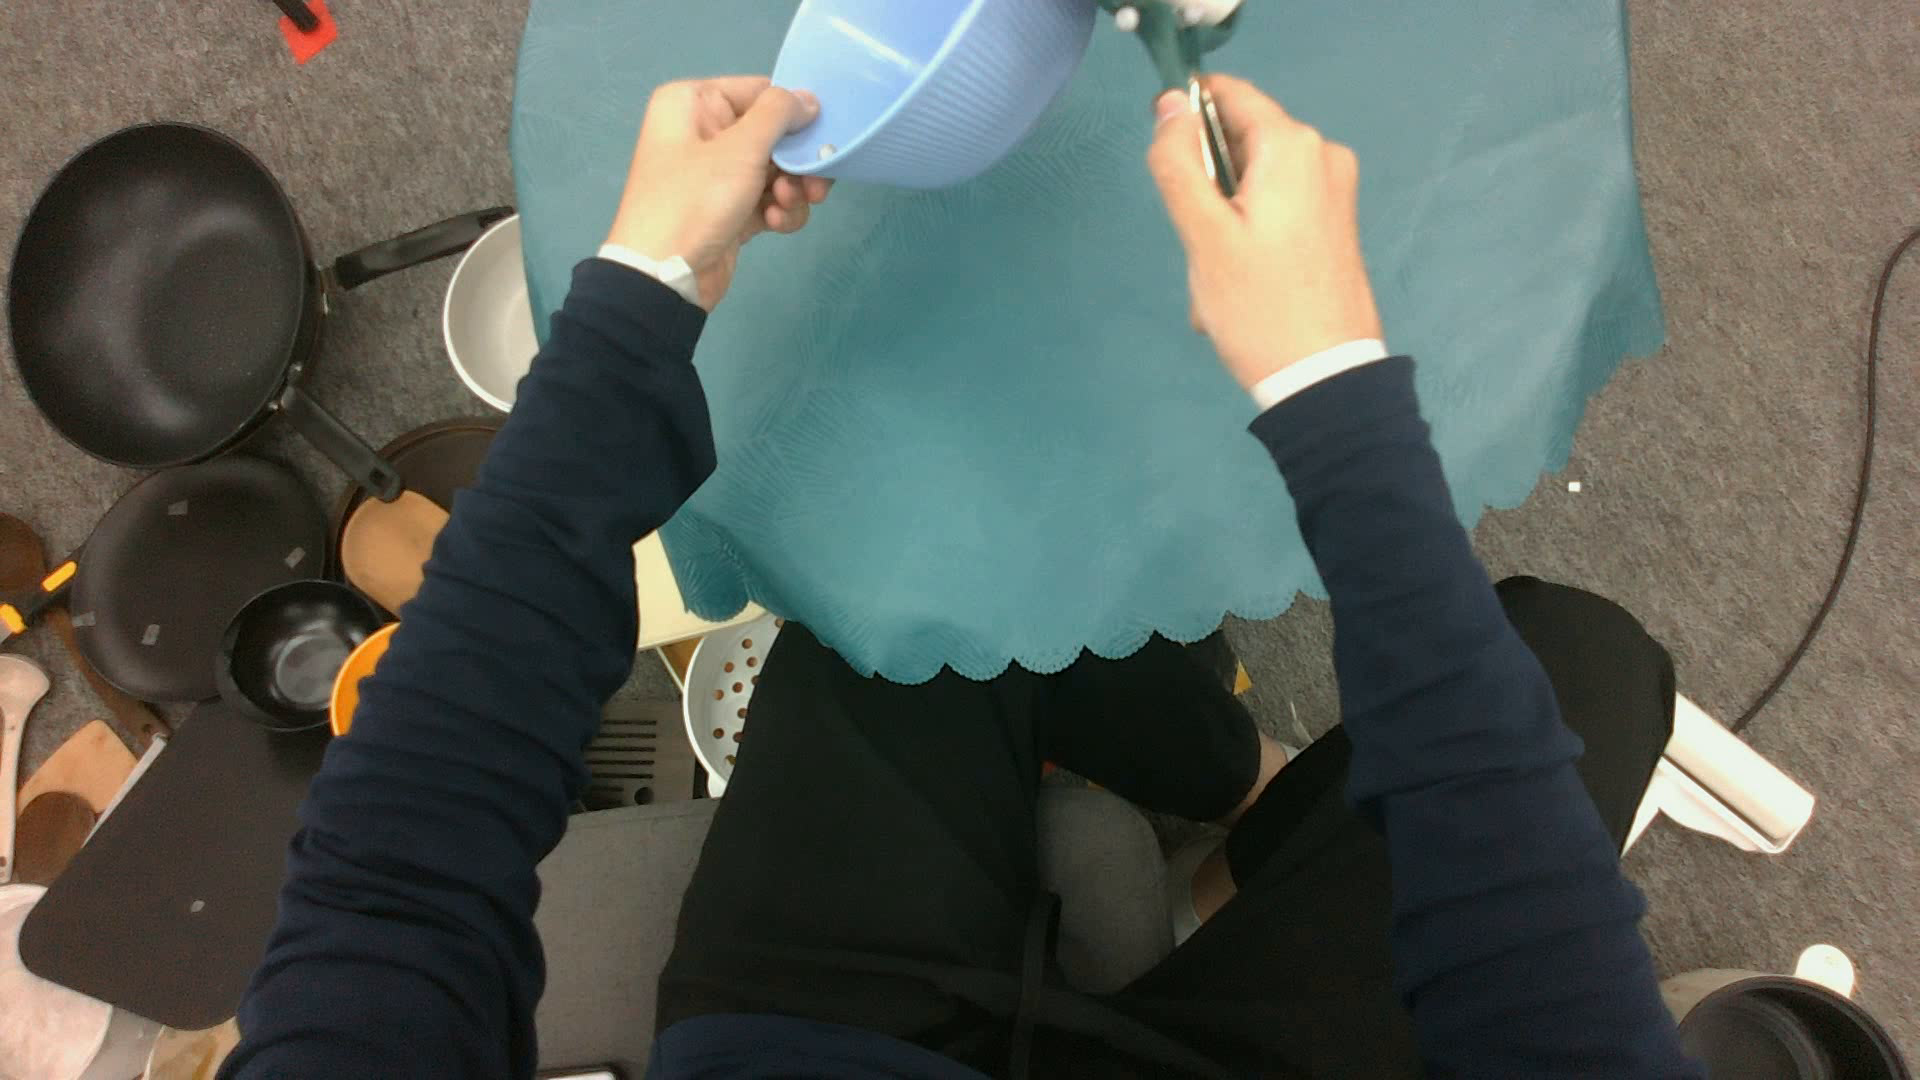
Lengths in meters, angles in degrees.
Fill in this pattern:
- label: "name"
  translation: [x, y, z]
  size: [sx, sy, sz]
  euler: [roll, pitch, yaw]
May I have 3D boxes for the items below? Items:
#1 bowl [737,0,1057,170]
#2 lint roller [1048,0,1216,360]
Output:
- label: "bowl"
  translation: [-0.019, -0.227, 0.587]
  size: [0.070, 0.175, 0.176]
  euler: [25, 77, -34]
- label: "lint roller"
  translation: [0.081, -0.161, 0.529]
  size: [0.048, 0.135, 0.180]
  euler: [-23, 85, 28]
